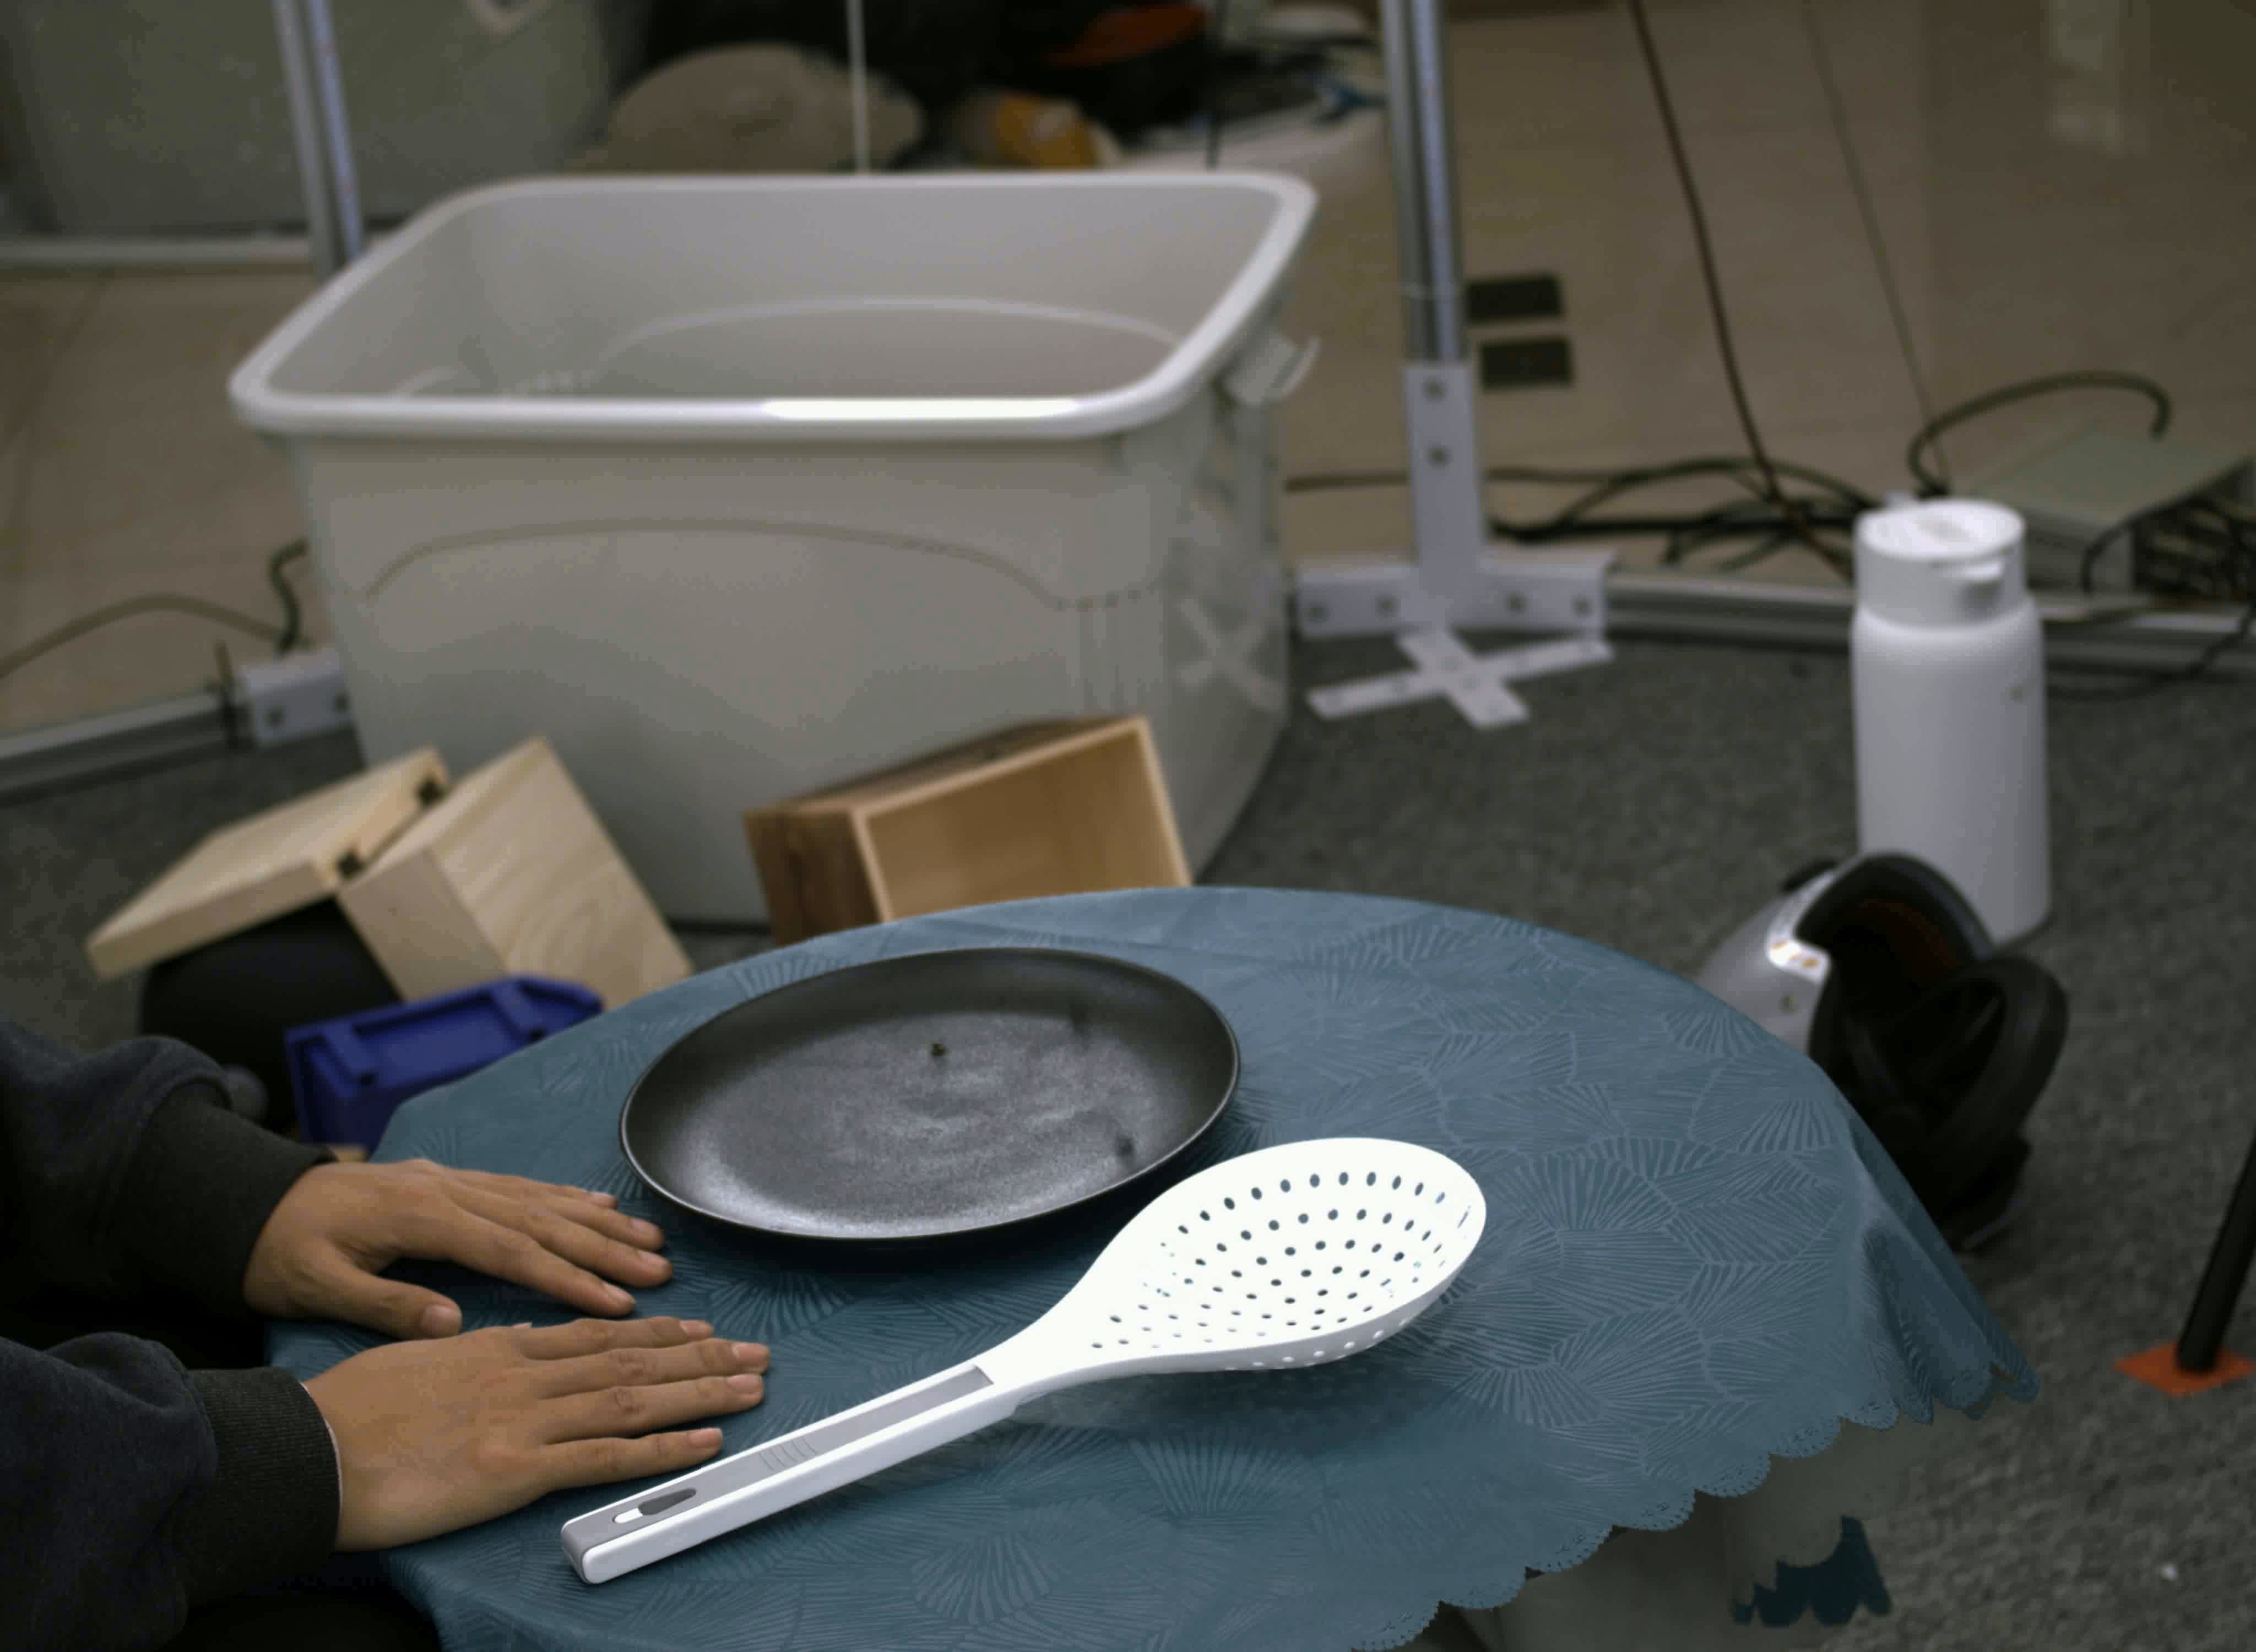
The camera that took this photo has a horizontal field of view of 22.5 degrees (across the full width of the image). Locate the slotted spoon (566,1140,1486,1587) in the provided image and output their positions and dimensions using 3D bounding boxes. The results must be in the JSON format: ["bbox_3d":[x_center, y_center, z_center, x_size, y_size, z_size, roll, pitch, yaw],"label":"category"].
[{"bbox_3d":[-0.034,0.191,1.989,0.348,0.046,0.134,-17,25,-20],"label":"slotted spoon"}]

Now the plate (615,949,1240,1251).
[{"bbox_3d":[-0.076,0.111,2.199,0.244,0.024,0.241,-5,25,3],"label":"plate"}]
